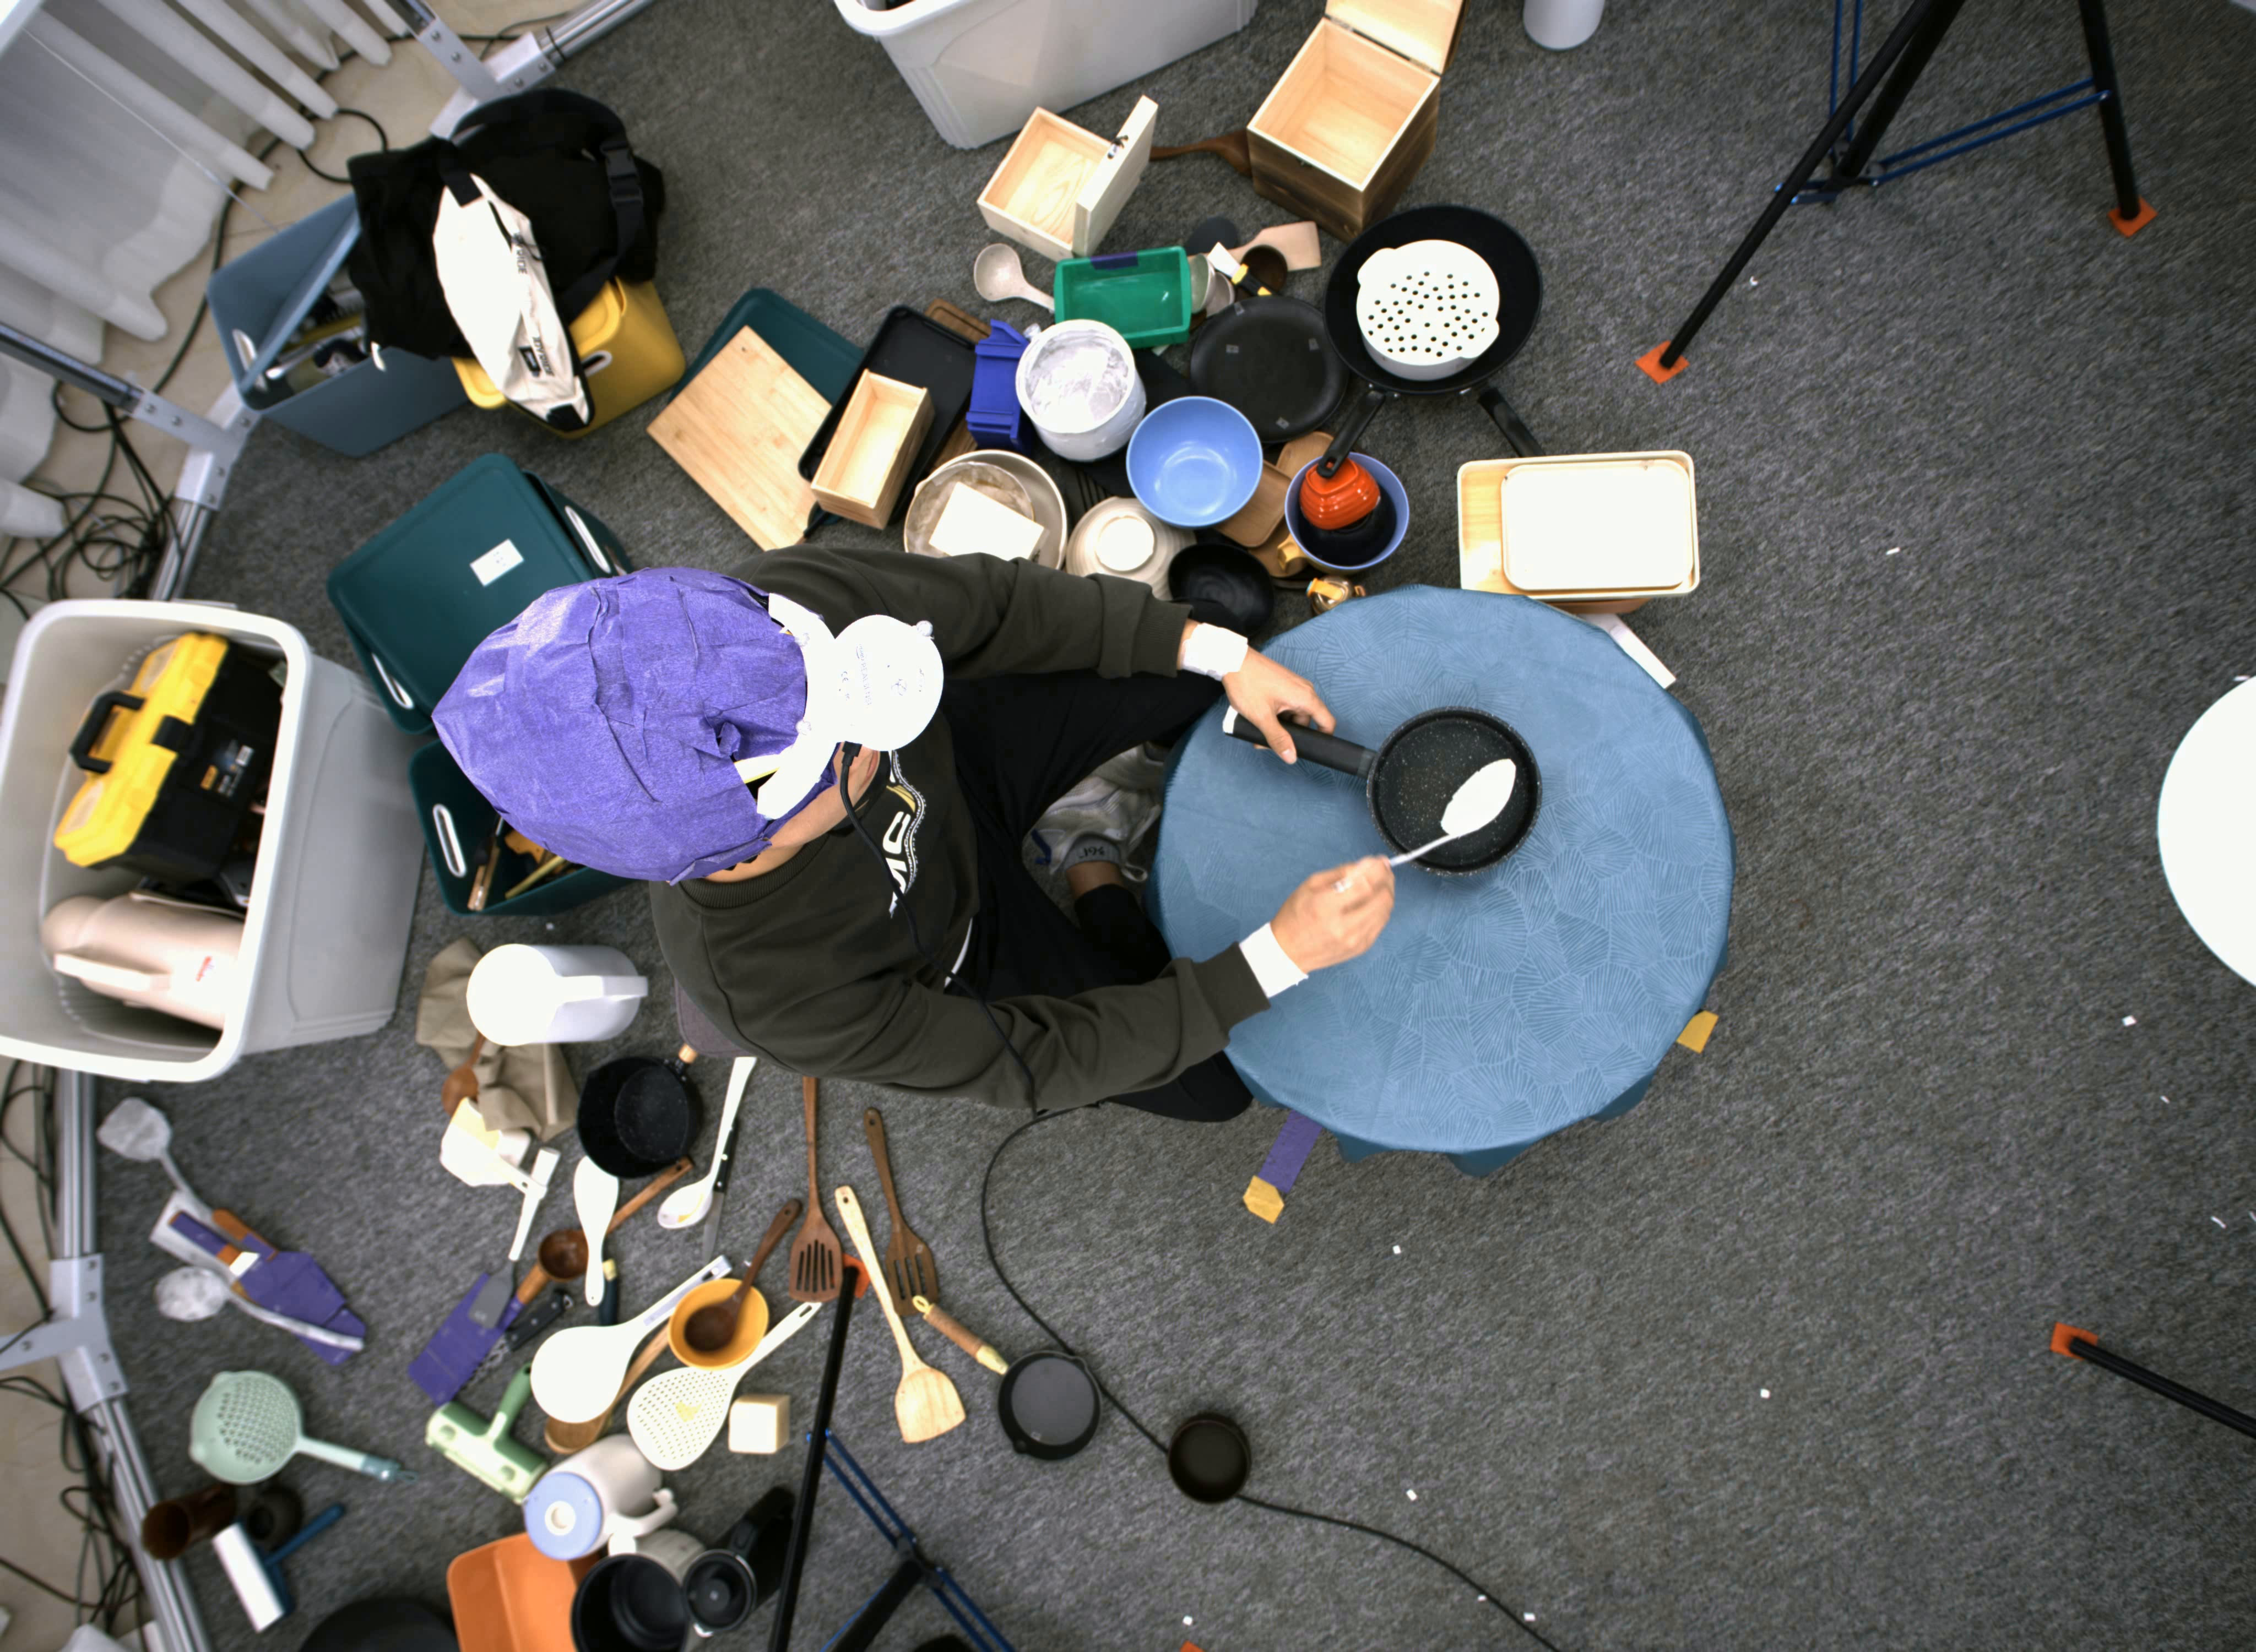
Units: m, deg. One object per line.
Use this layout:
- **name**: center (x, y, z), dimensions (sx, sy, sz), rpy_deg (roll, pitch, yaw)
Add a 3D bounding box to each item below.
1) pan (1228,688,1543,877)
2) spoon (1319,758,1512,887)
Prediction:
- **pan**: center (0.261, -0.065, 1.418), dimensions (0.328, 0.086, 0.173), rpy_deg (22, 97, 9)
- **spoon**: center (0.265, -0.005, 1.294), dimensions (0.274, 0.103, 0.059), rpy_deg (-17, 75, -34)
